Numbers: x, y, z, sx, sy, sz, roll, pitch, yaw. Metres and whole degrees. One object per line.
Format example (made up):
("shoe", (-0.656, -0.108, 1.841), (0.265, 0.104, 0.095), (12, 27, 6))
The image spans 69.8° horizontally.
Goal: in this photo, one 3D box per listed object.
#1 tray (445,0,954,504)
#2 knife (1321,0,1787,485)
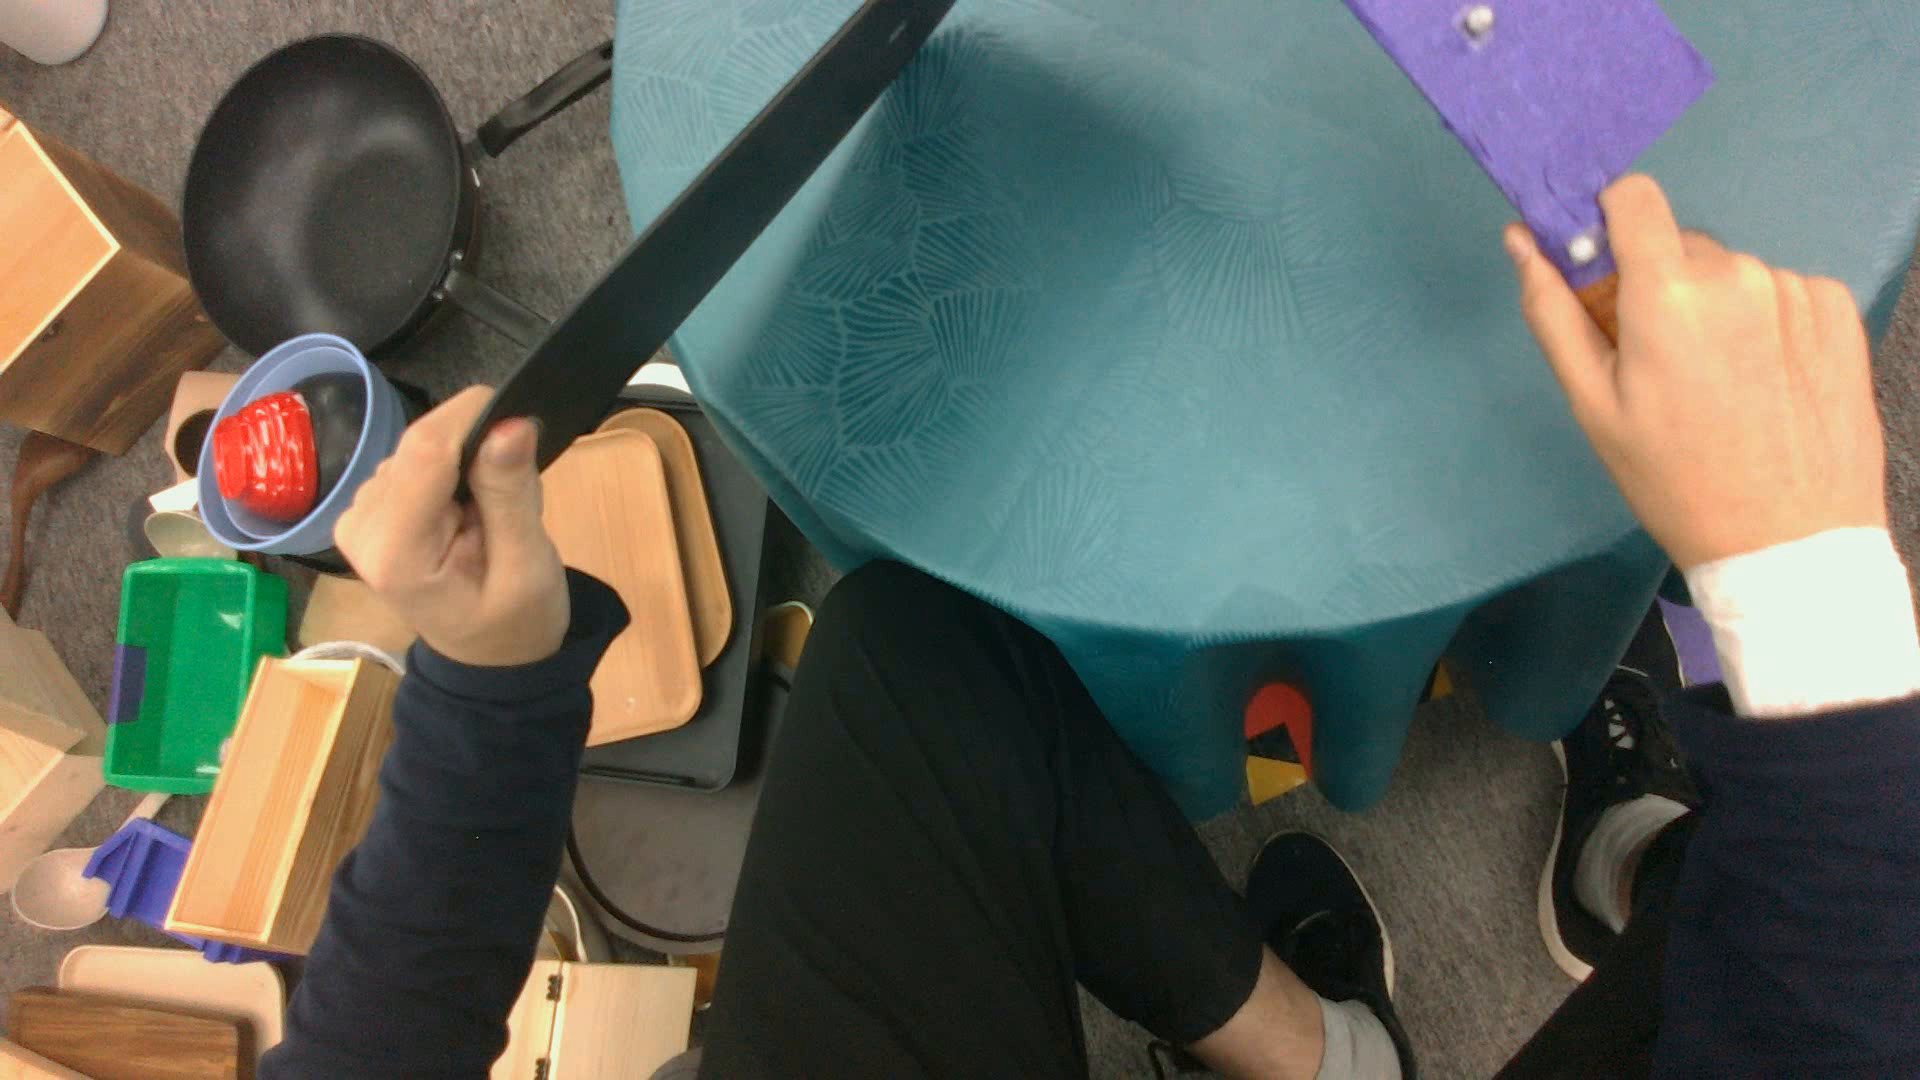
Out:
("tray", (-0.080, -0.138, 0.521), (0.010, 0.210, 0.326), (42, 76, -10))
("knife", (0.181, -0.161, 0.450), (0.104, 0.032, 0.315), (-45, 98, -14))
